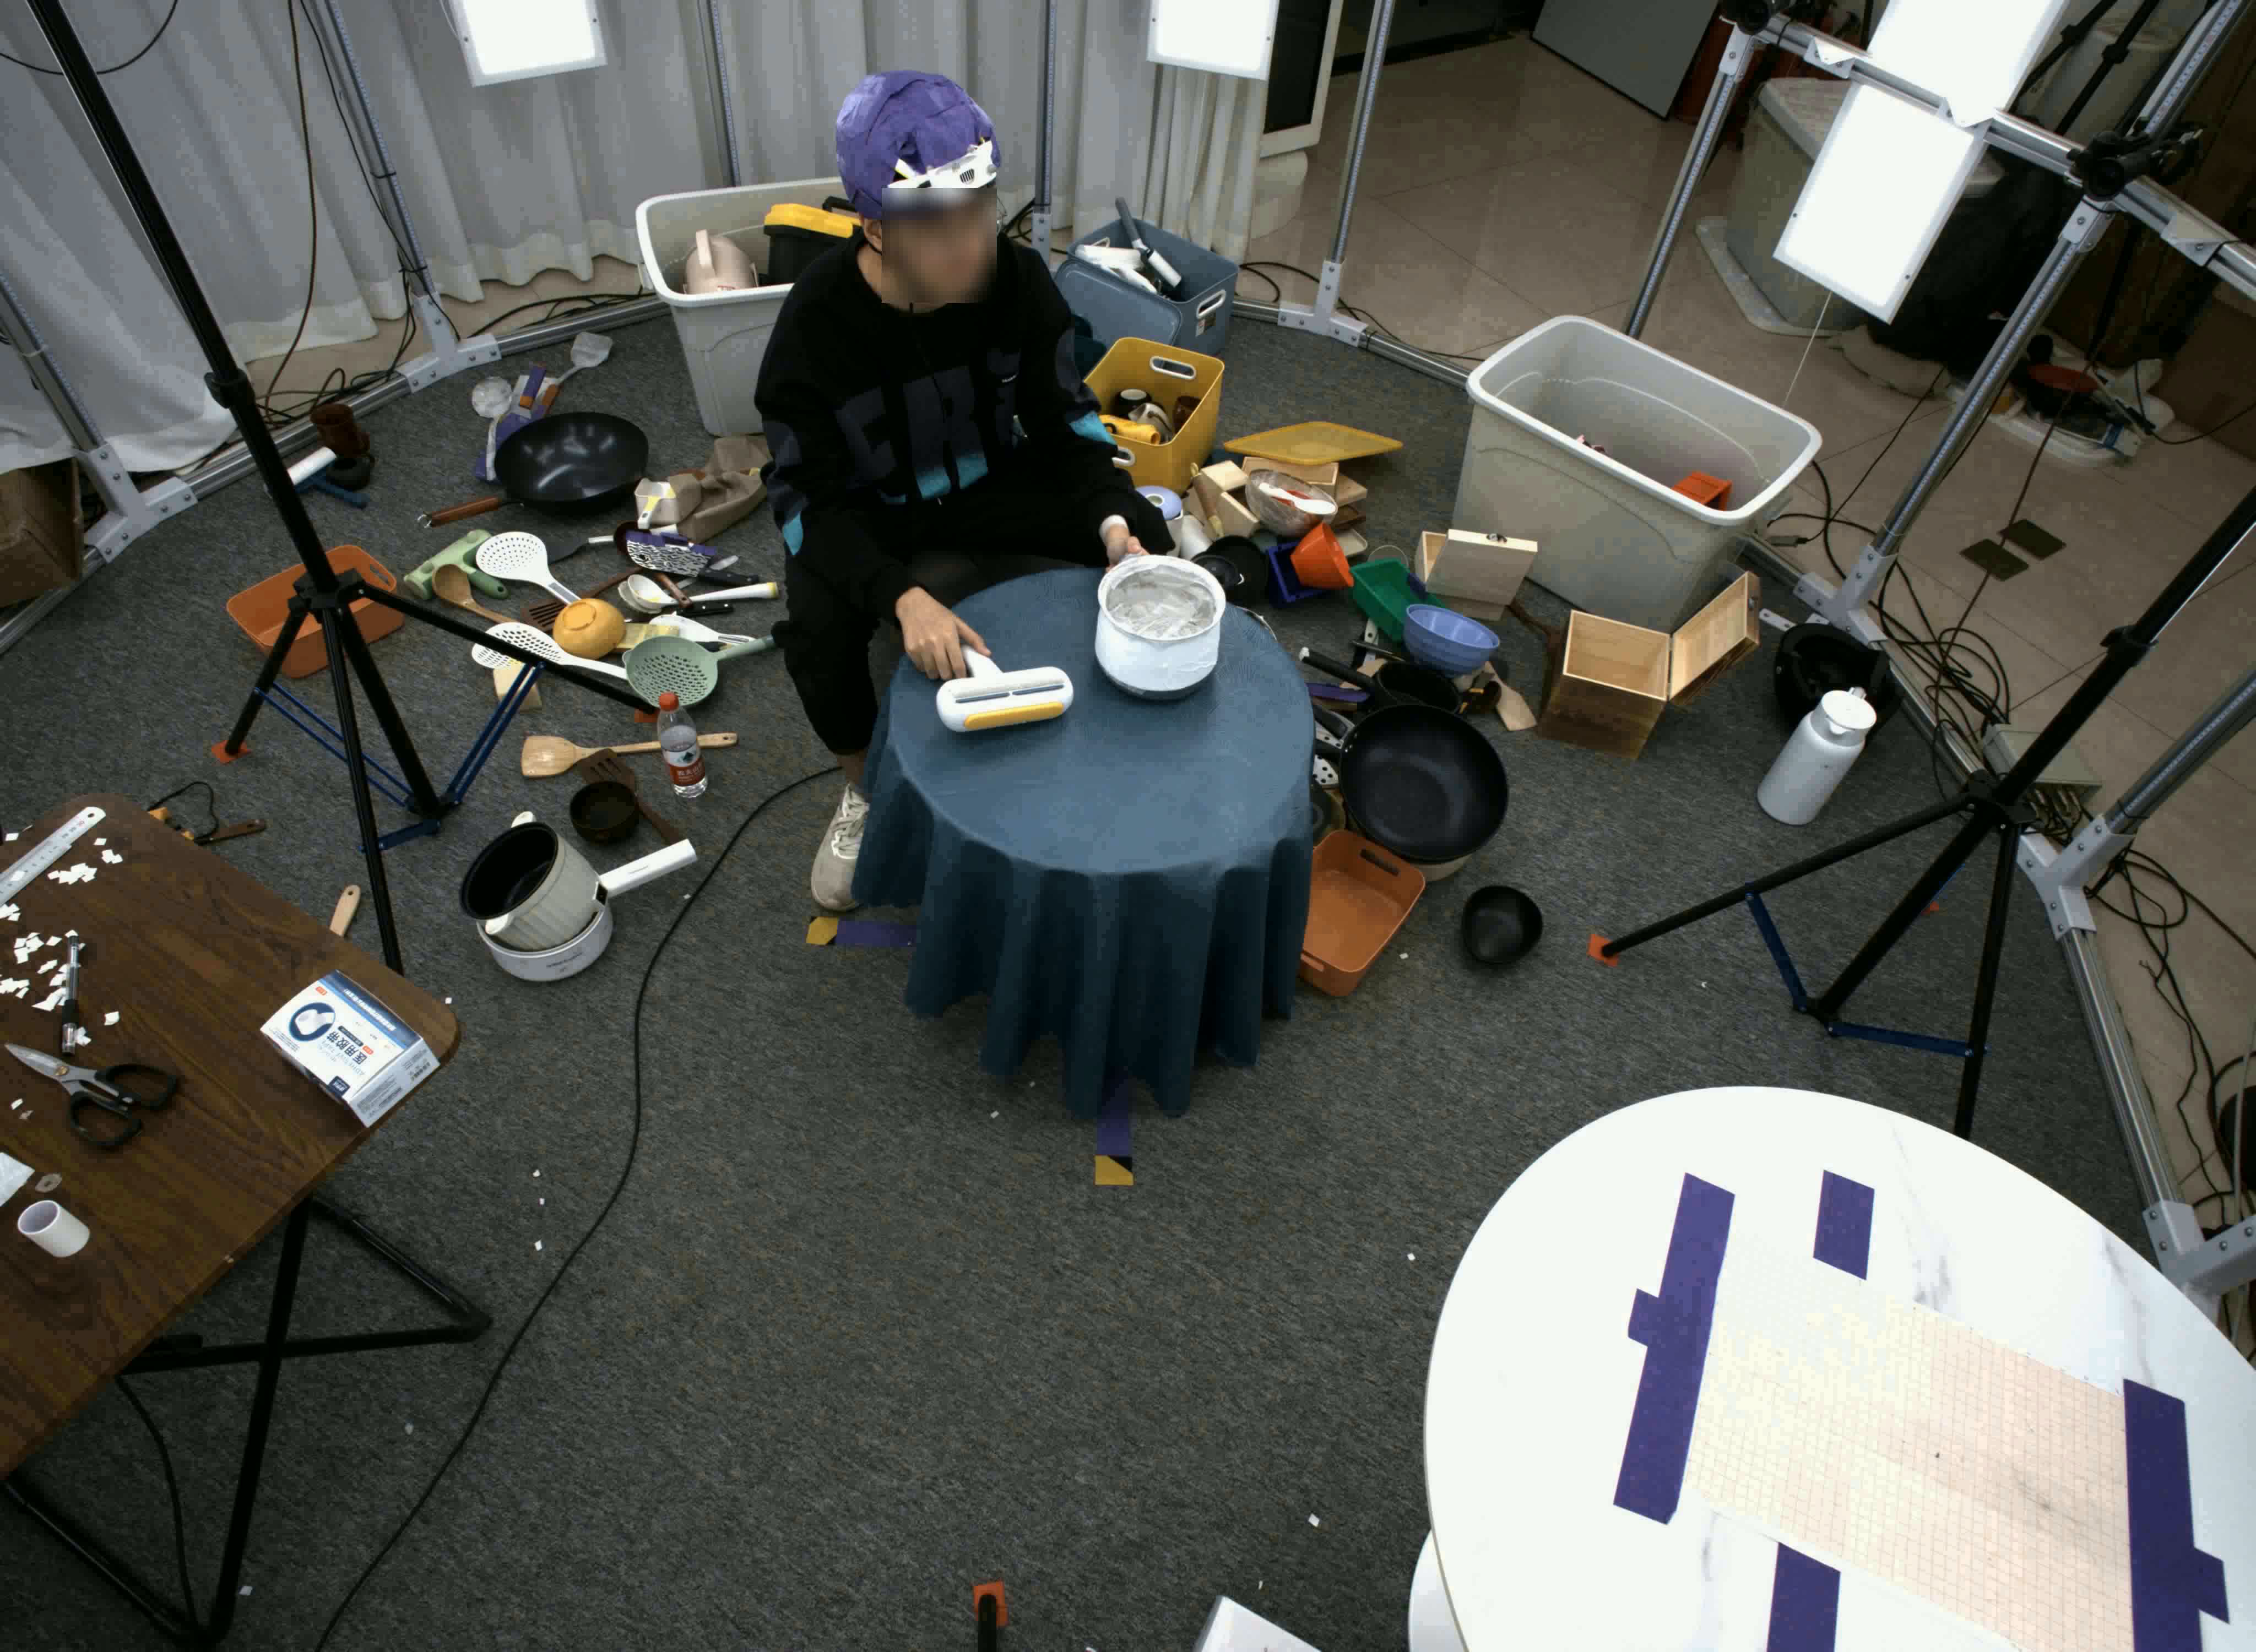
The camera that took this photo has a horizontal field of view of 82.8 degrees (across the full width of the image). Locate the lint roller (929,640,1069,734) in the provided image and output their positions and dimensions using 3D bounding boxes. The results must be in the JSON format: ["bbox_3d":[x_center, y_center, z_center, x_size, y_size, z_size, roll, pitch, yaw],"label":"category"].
[{"bbox_3d":[-0.196,-0.209,1.793,0.193,0.072,0.197,-11,49,-20],"label":"lint roller"}]

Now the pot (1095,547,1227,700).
[{"bbox_3d":[0.033,-0.299,1.839,0.179,0.133,0.239,-14,53,-17],"label":"pot"}]
